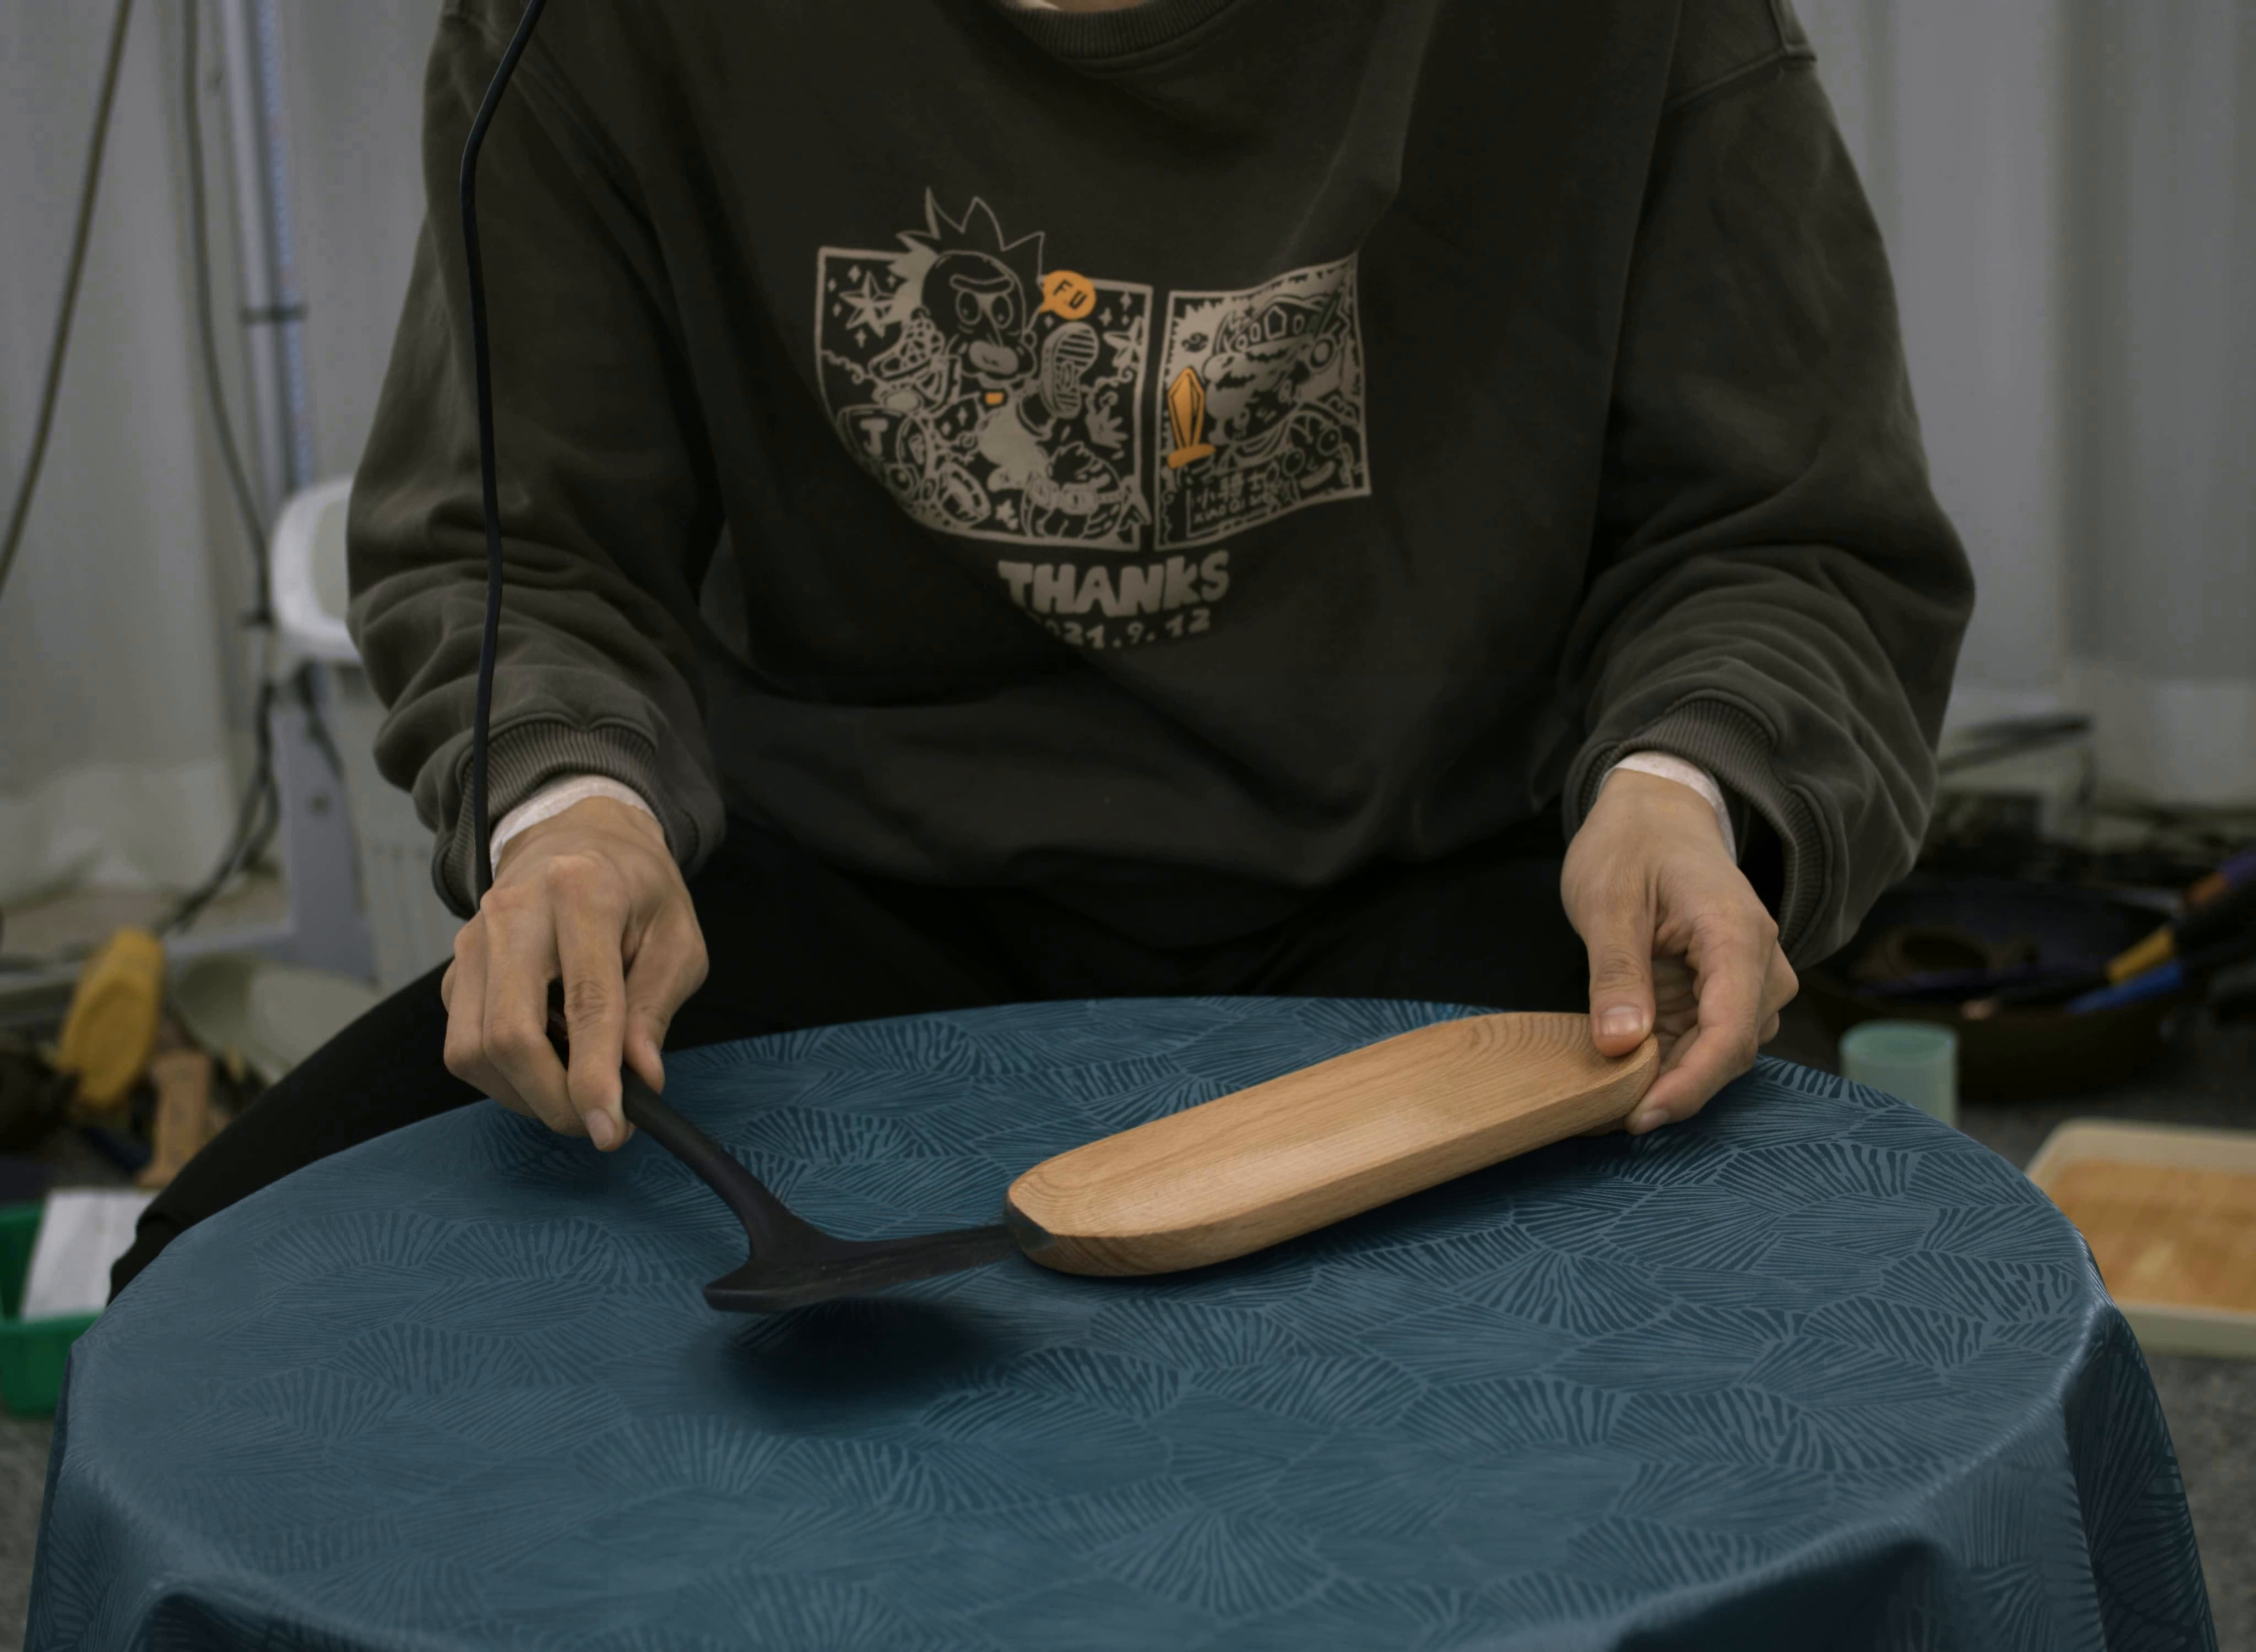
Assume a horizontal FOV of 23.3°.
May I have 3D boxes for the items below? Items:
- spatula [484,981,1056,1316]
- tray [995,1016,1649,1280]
[{"bbox_3d":[-0.135,0.094,1.694,0.099,0.040,0.329,-9,23,-26],"label":"spatula"},{"bbox_3d":[0.063,0.100,1.708,0.231,0.020,0.102,-19,17,-31],"label":"tray"}]
